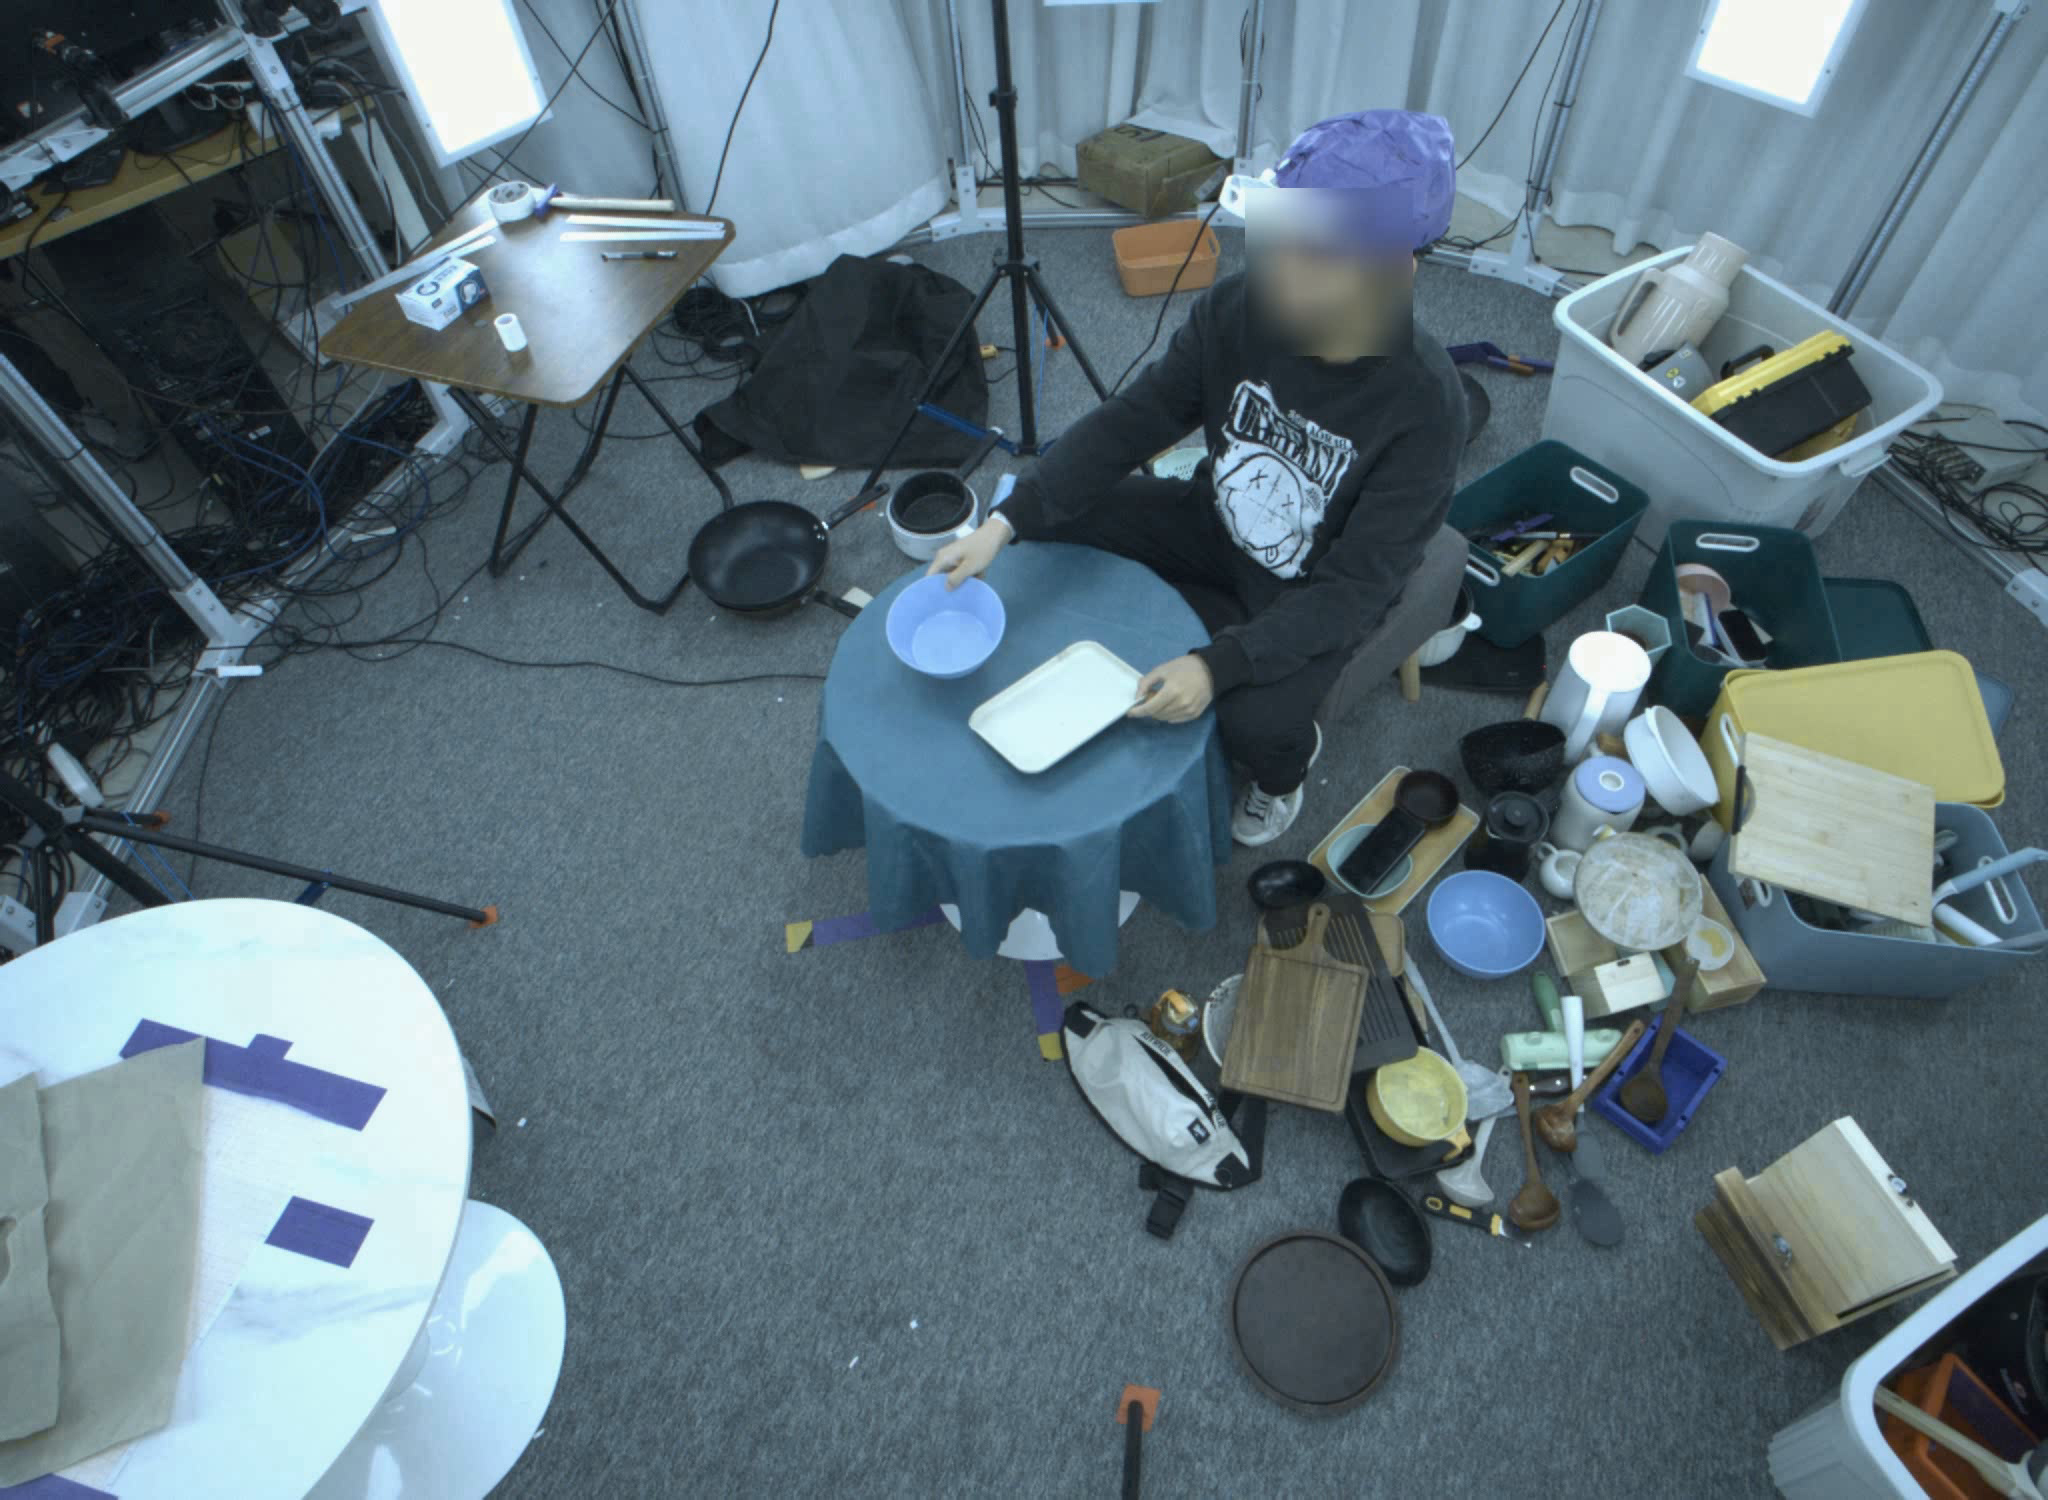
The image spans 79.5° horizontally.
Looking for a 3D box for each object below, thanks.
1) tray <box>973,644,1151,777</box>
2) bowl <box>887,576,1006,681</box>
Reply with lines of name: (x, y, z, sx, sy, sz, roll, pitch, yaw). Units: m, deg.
tray: (0.056, -0.059, 1.808, 0.241, 0.018, 0.167, -35, 51, -18)
bowl: (-0.114, -0.171, 1.833, 0.176, 0.071, 0.174, 0, 65, 1)
